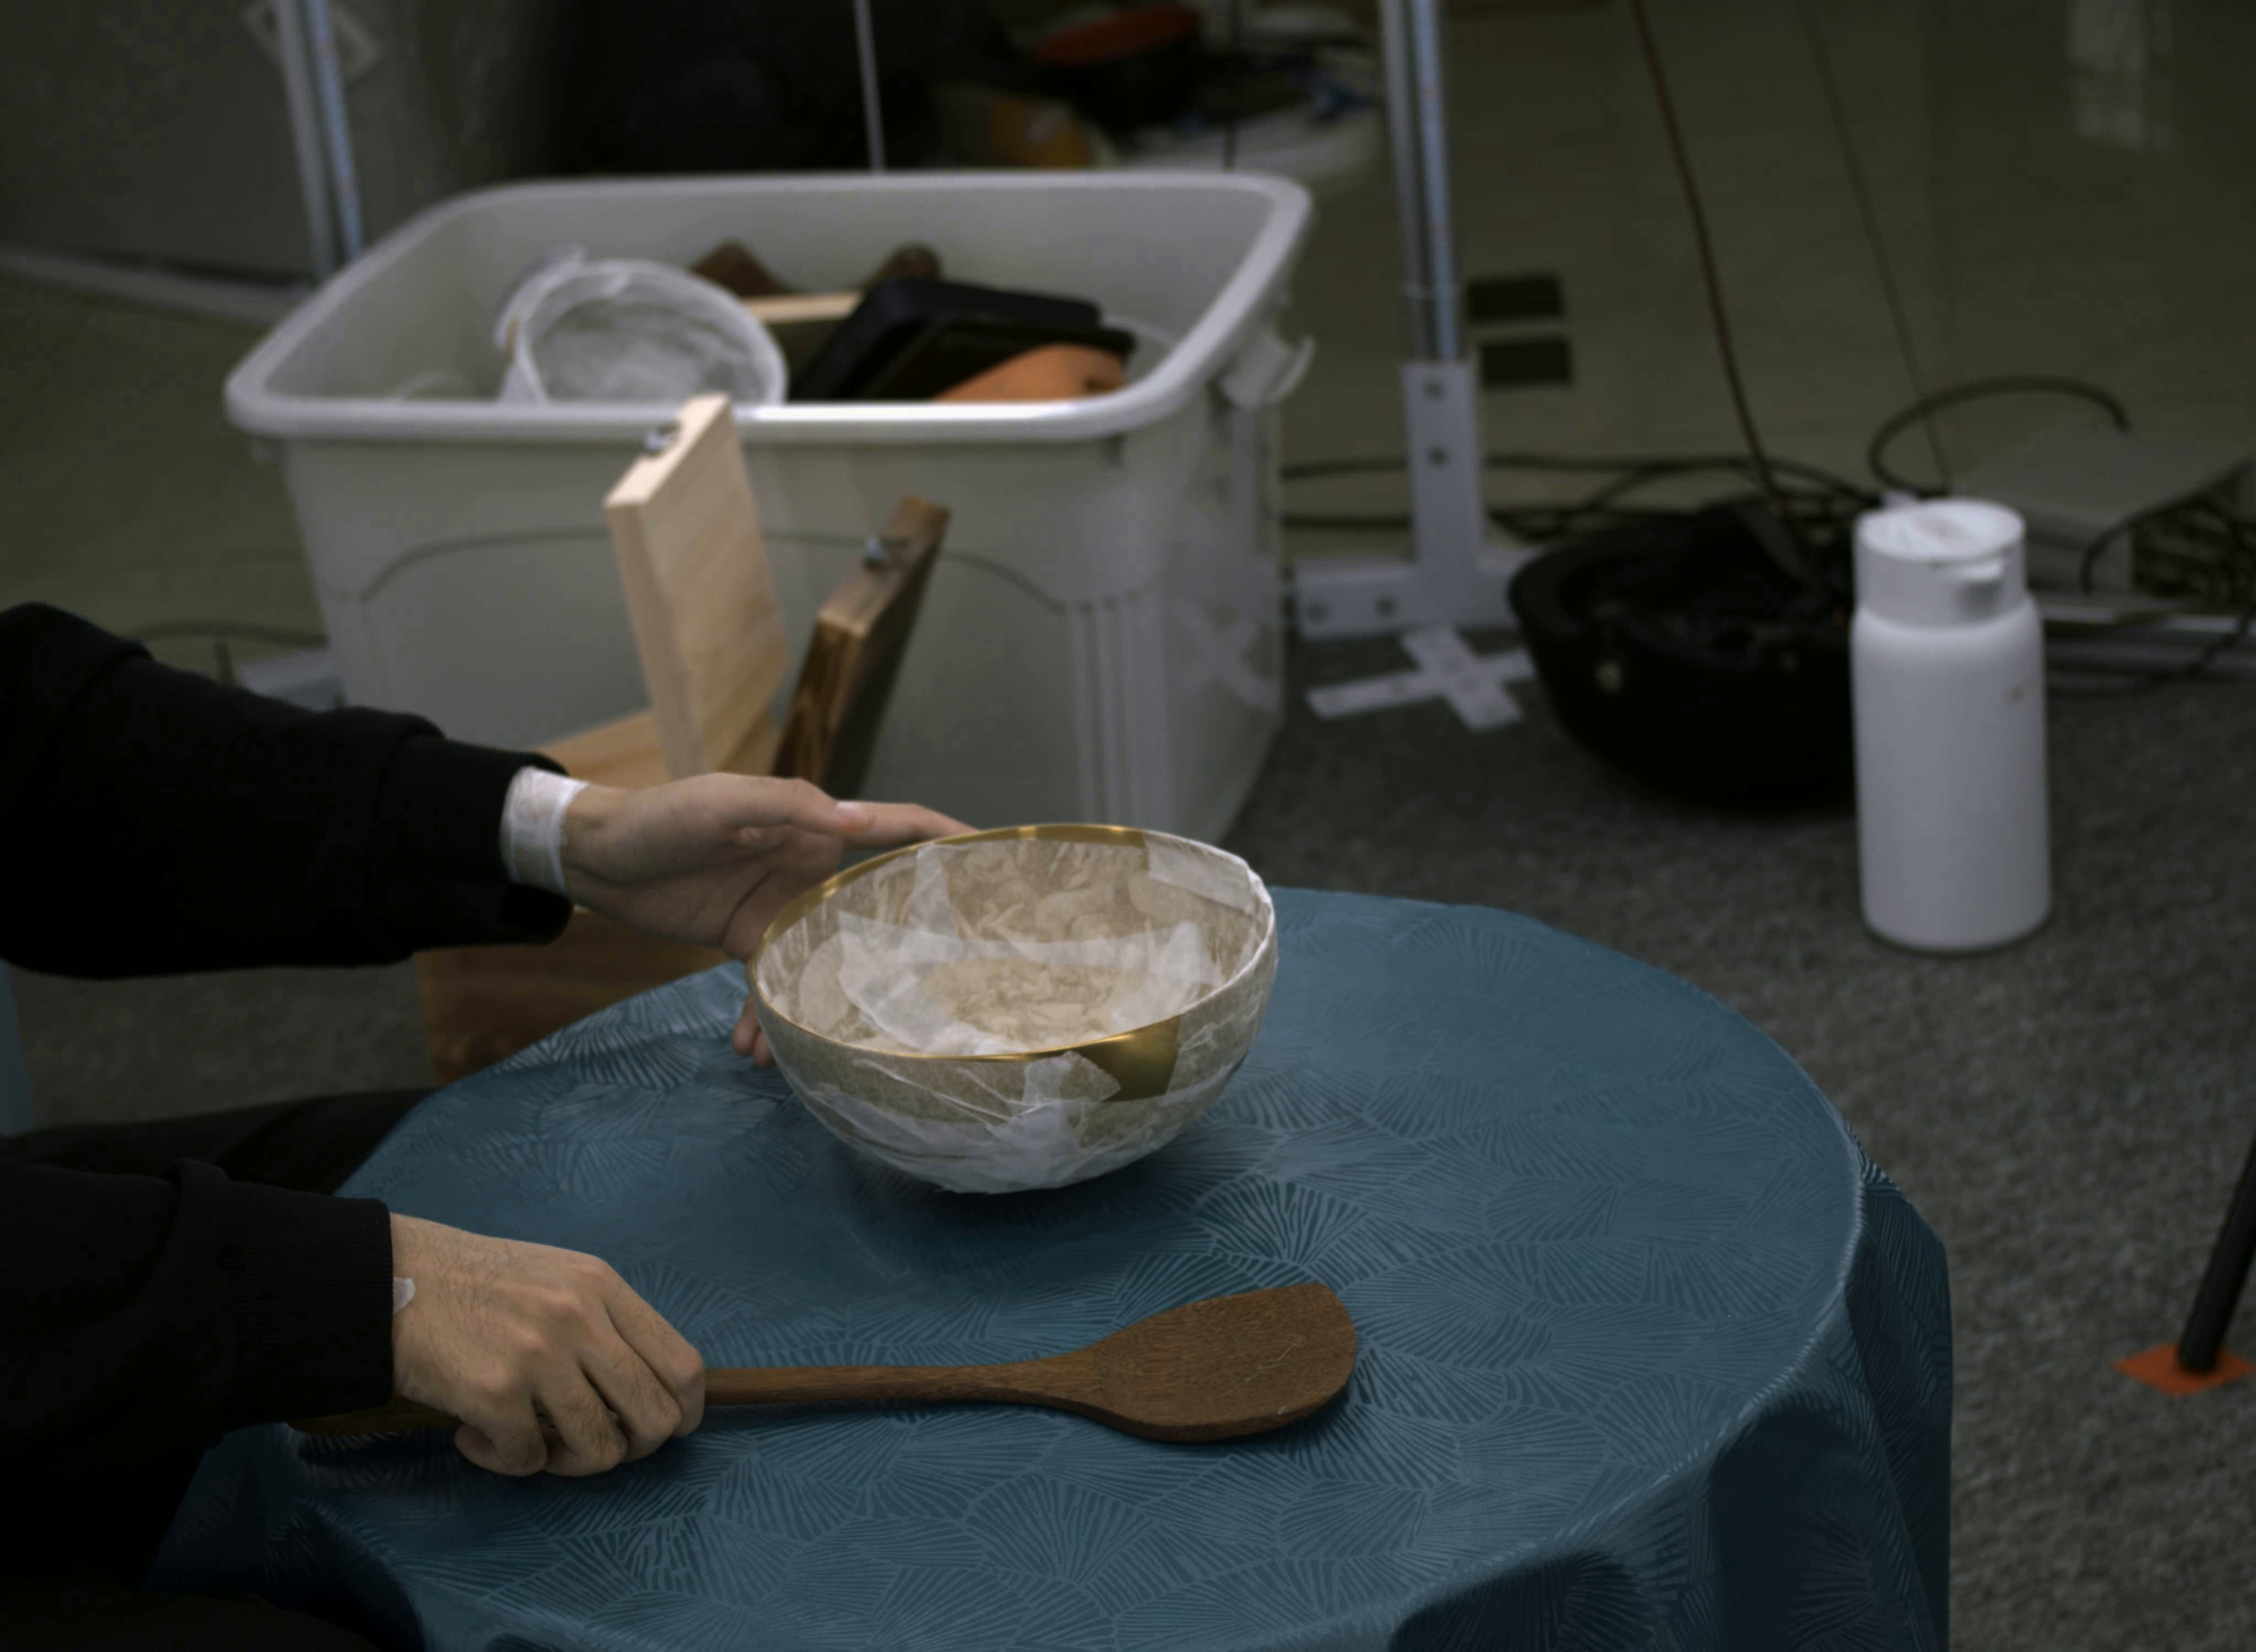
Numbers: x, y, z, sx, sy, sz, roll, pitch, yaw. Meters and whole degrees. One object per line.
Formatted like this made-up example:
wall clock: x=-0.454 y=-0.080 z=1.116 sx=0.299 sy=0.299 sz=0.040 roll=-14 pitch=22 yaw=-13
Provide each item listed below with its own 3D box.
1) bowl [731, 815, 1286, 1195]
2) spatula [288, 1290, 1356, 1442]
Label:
bowl: x=-0.041 y=0.081 z=2.176 sx=0.214 sy=0.096 sz=0.211 roll=-6 pitch=27 yaw=3
spatula: x=-0.111 y=0.200 z=2.026 sx=0.385 sy=0.016 sz=0.095 roll=-3 pitch=24 yaw=4
